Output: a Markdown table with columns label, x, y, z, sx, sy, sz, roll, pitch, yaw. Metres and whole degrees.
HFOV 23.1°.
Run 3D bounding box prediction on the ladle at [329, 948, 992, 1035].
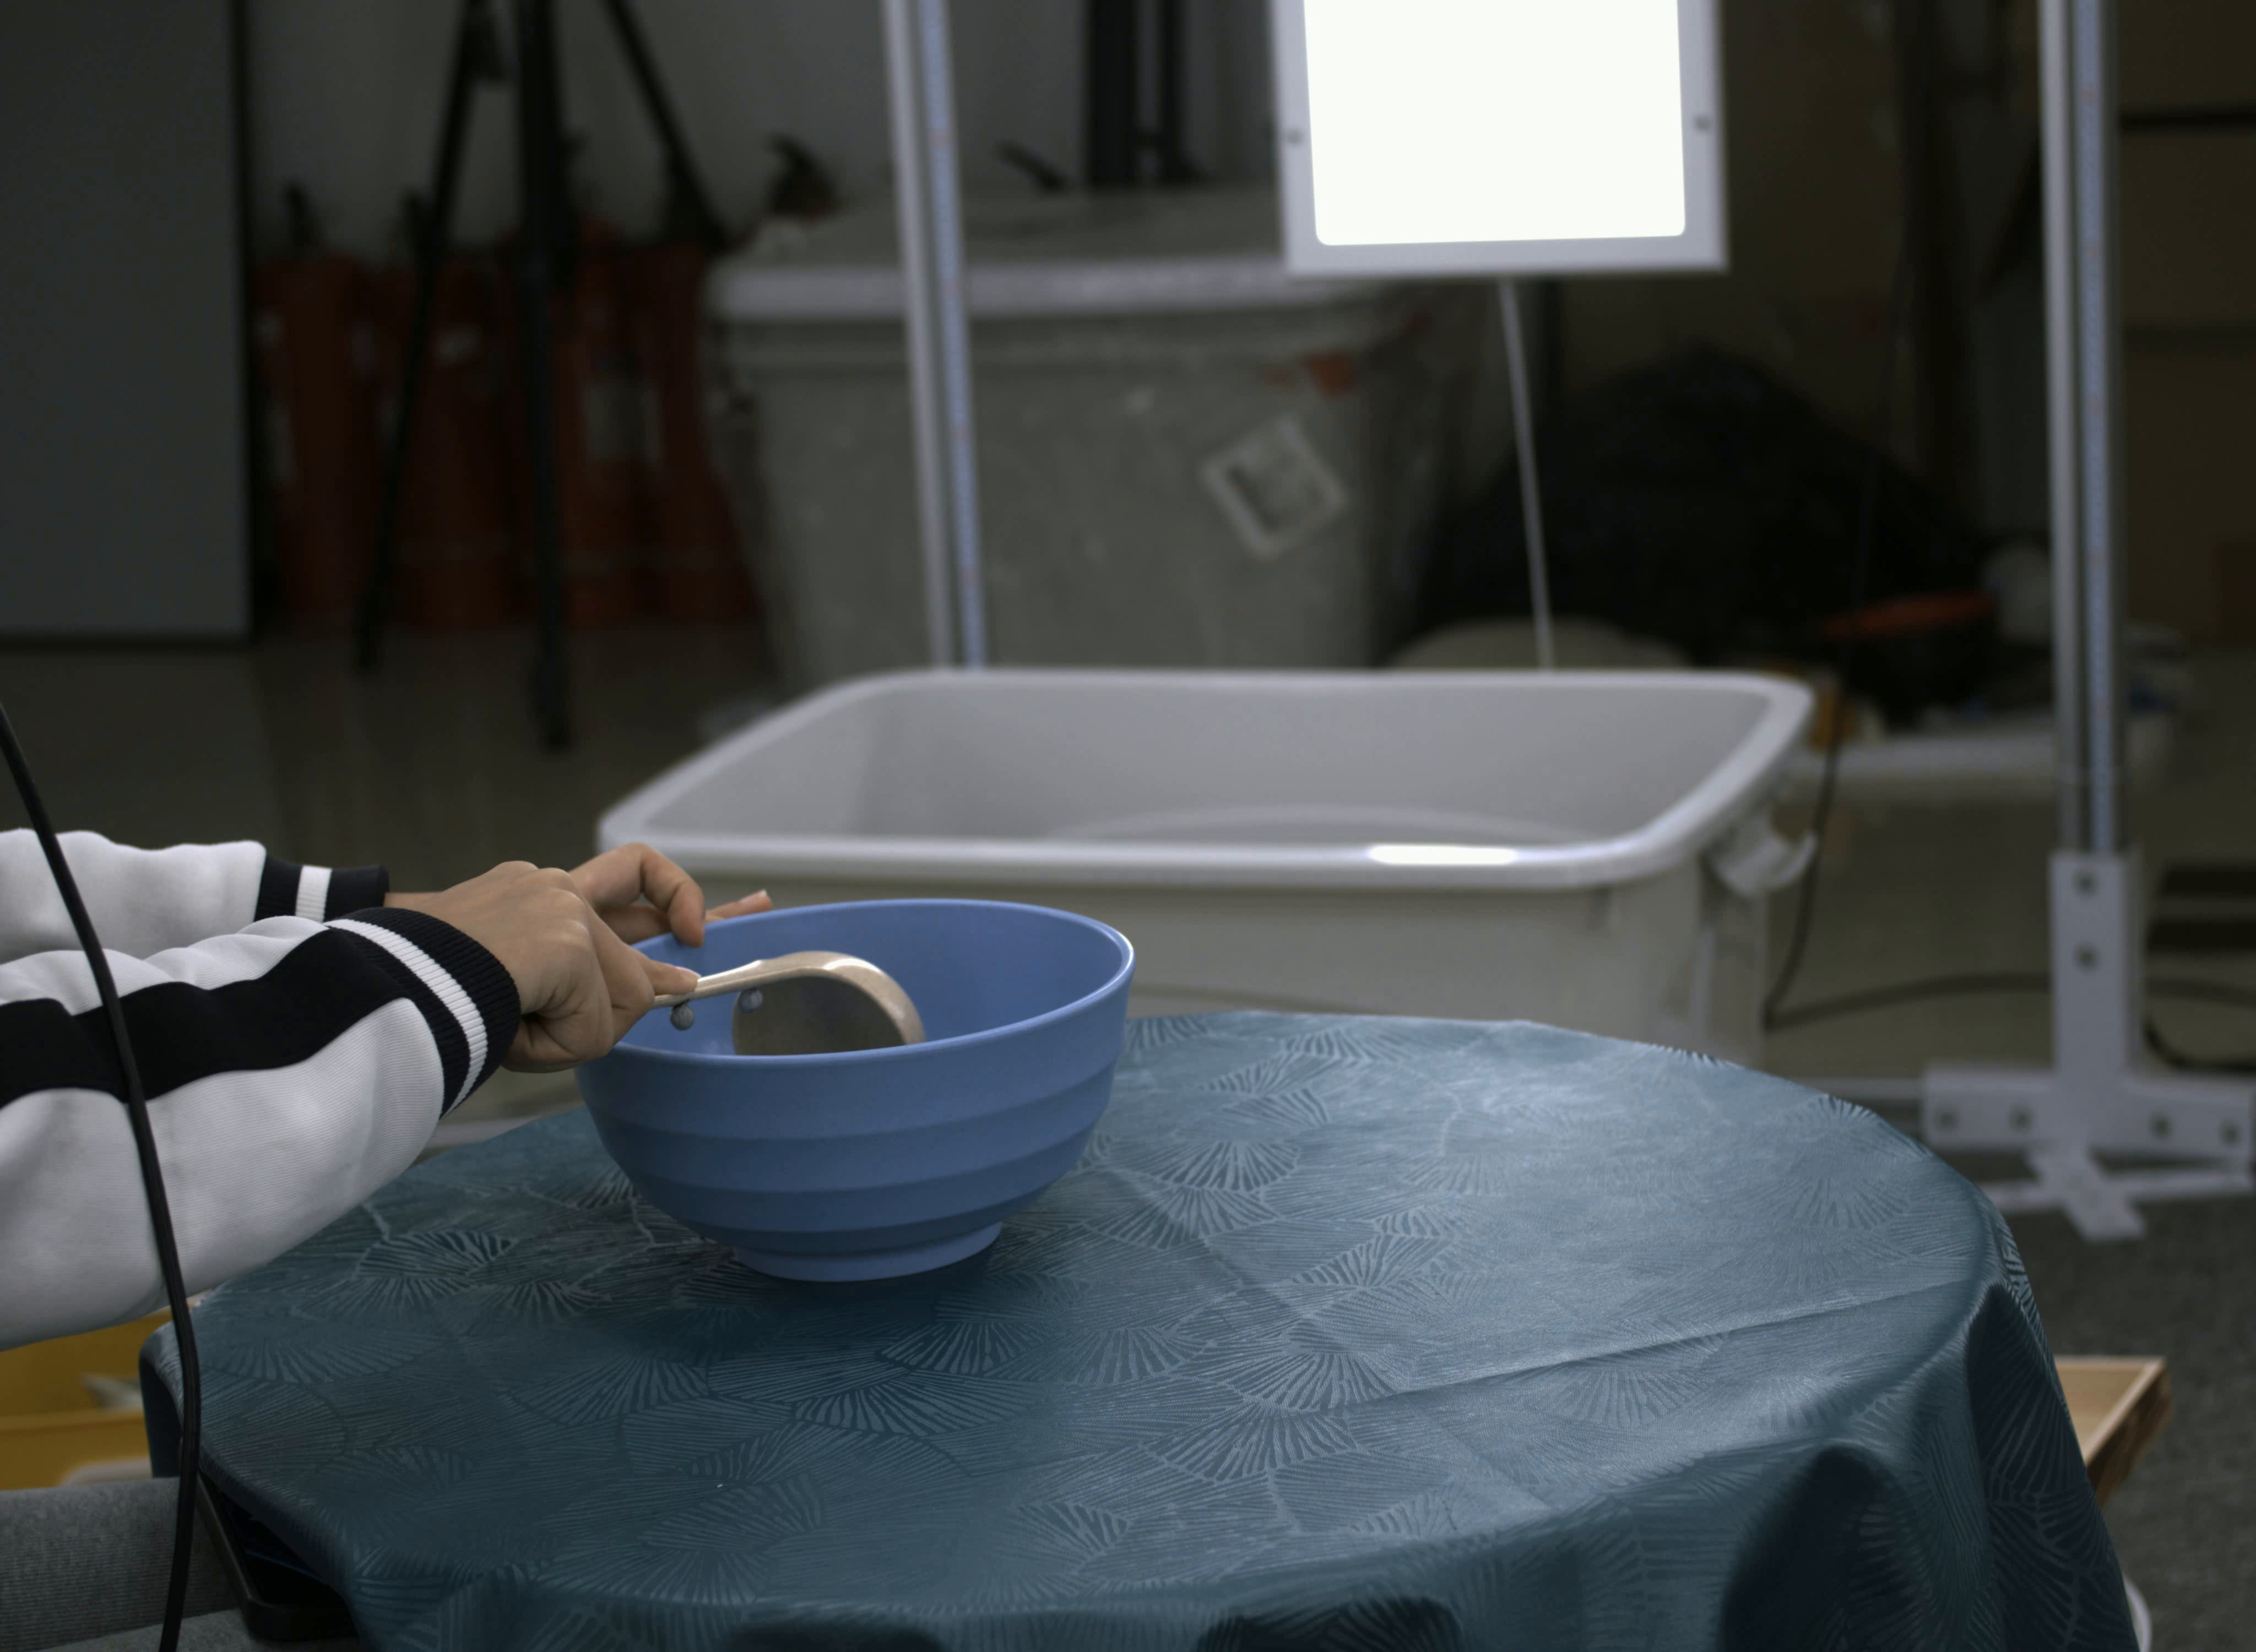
| label | x | y | z | sx | sy | sz | roll | pitch | yaw |
| --- | --- | --- | --- | --- | --- | --- | --- | --- | --- |
| ladle | -0.143 | 0.078 | 1.778 | 0.248 | 0.073 | 0.073 | -1 | 51 | -47 |

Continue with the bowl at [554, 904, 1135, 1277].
| label | x | y | z | sx | sy | sz | roll | pitch | yaw |
| --- | --- | --- | --- | --- | --- | --- | --- | --- | --- |
| bowl | -0.093 | 0.094 | 1.861 | 0.196 | 0.096 | 0.196 | -3 | 12 | -1 |
